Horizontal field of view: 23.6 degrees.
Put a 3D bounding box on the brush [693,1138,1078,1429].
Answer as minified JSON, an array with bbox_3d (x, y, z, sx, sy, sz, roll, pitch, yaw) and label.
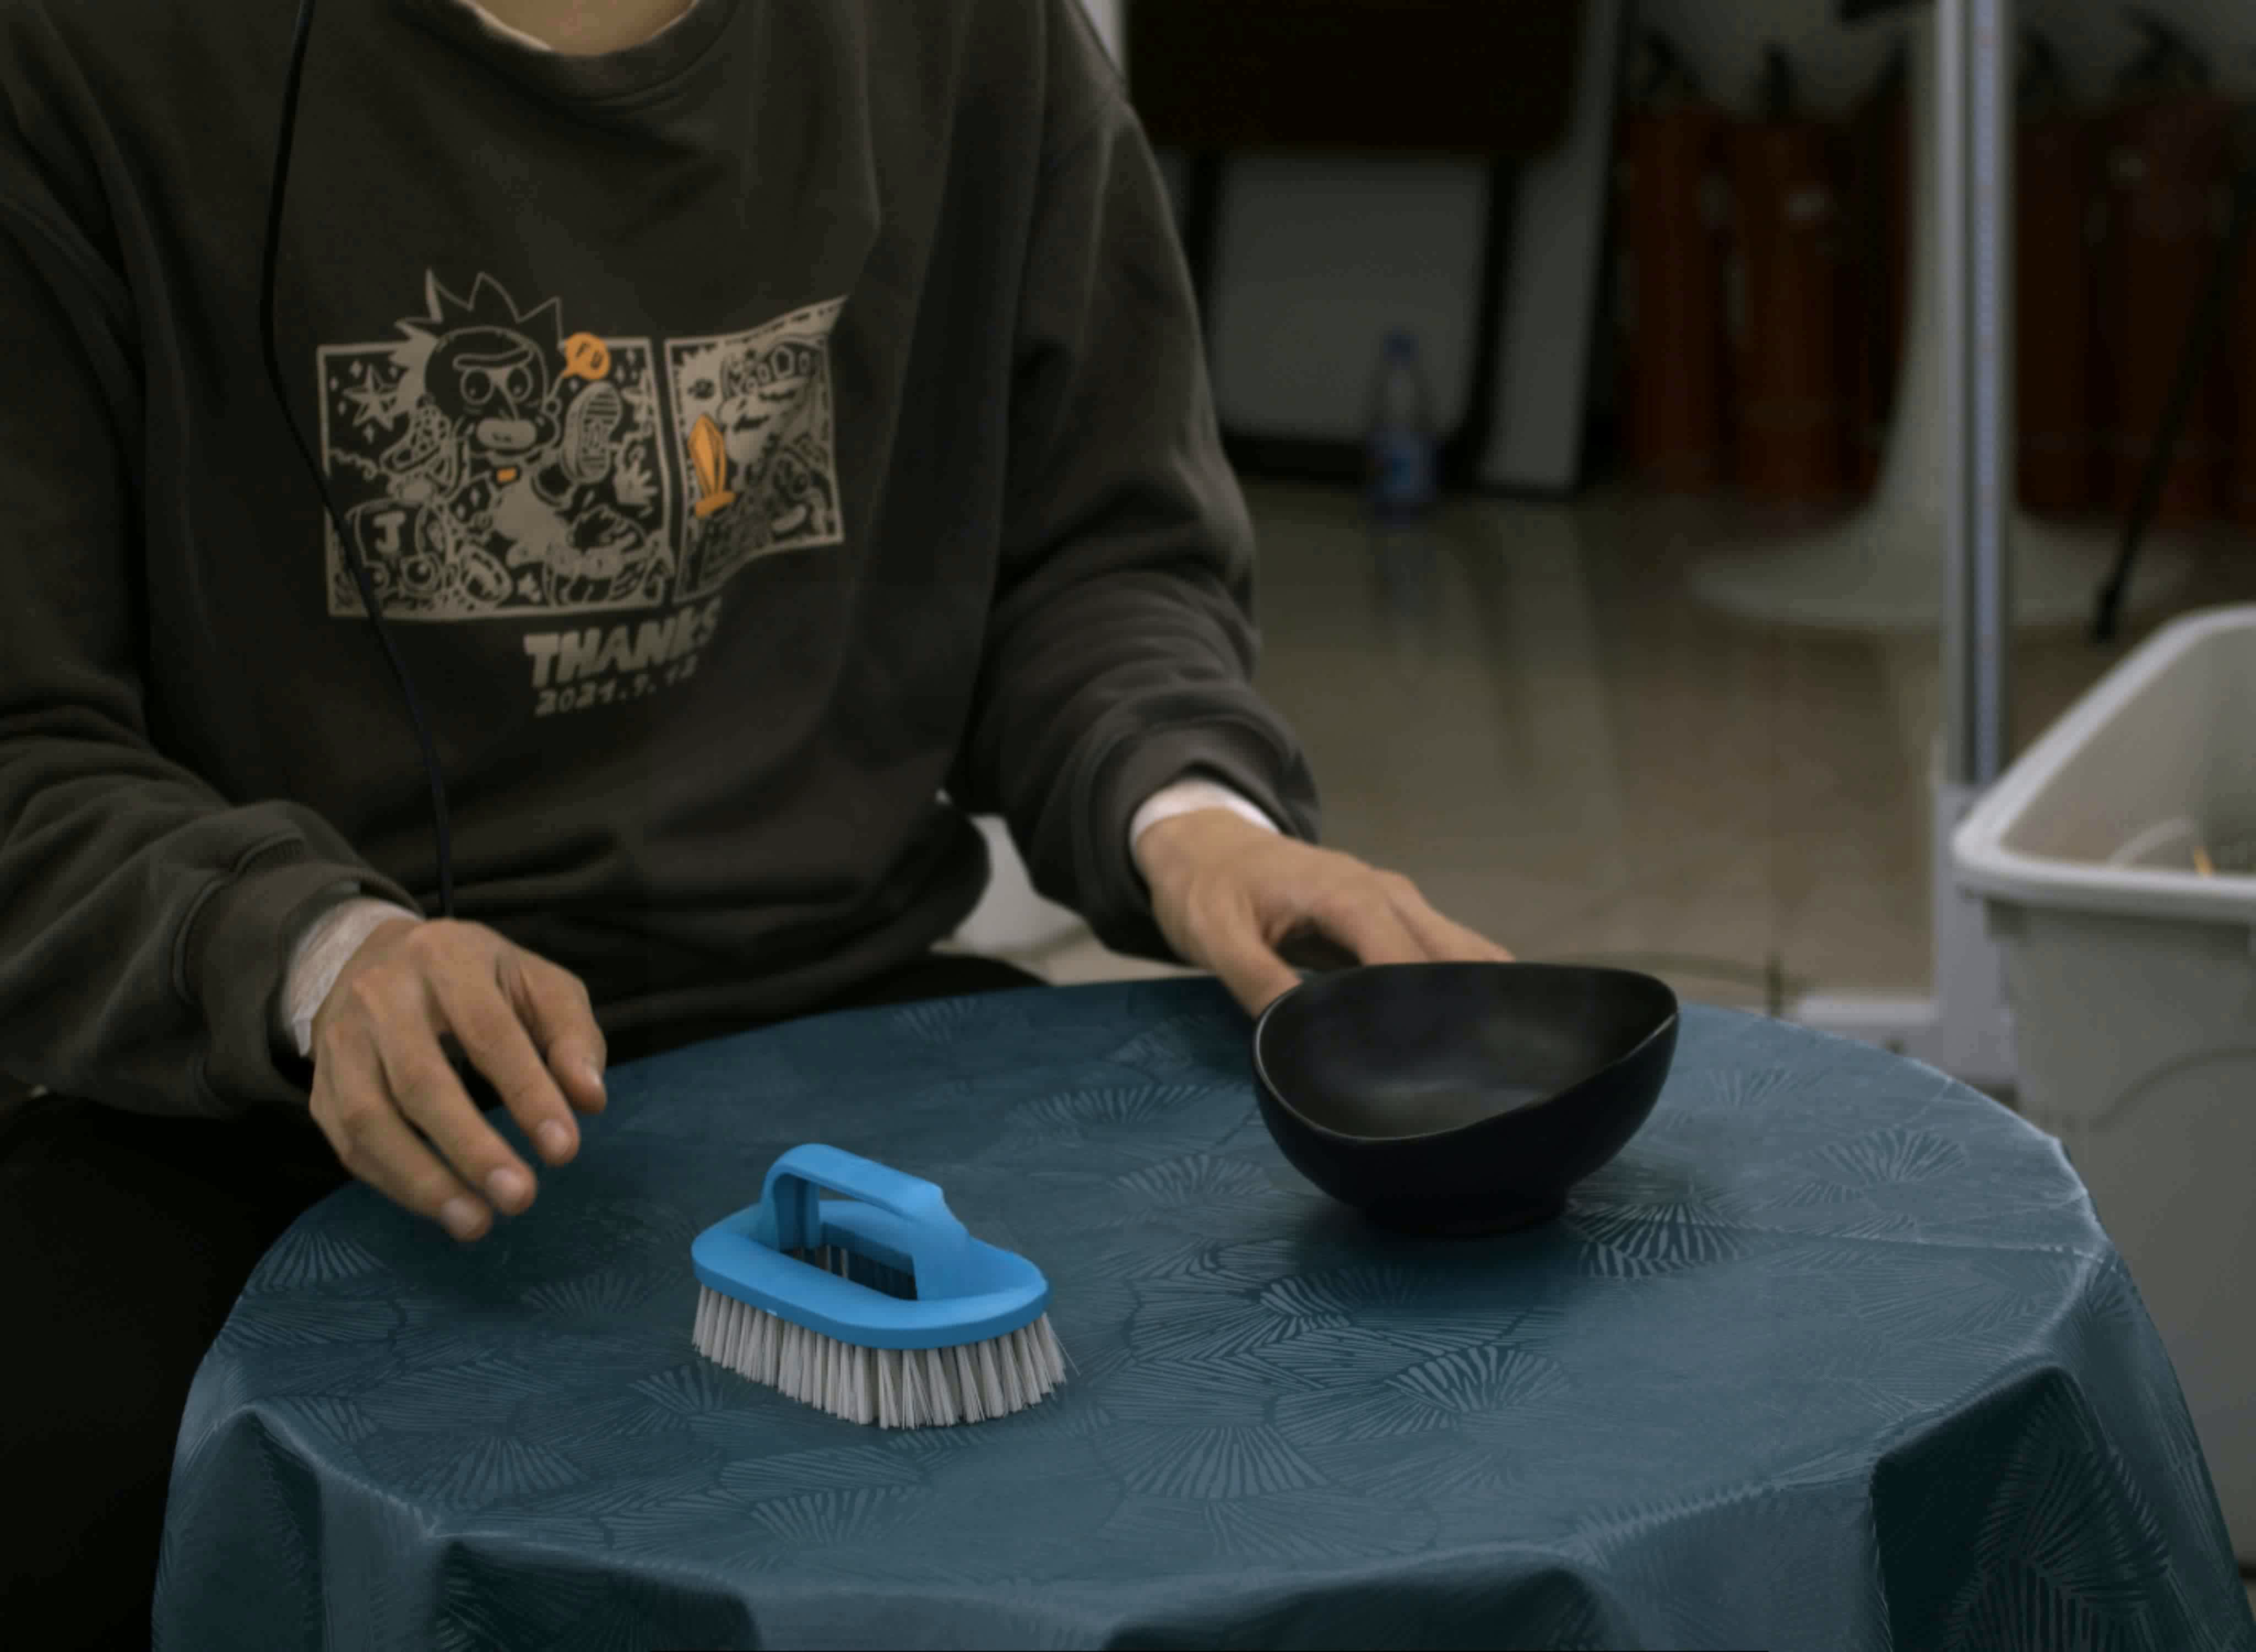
[{"bbox_3d":[-0.077,0.130,1.623,0.082,0.064,0.143,-18,17,-31],"label":"brush"}]

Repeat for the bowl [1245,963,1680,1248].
[{"bbox_3d":[0.109,0.094,1.727,0.137,0.067,0.168,1,16,23],"label":"bowl"}]
